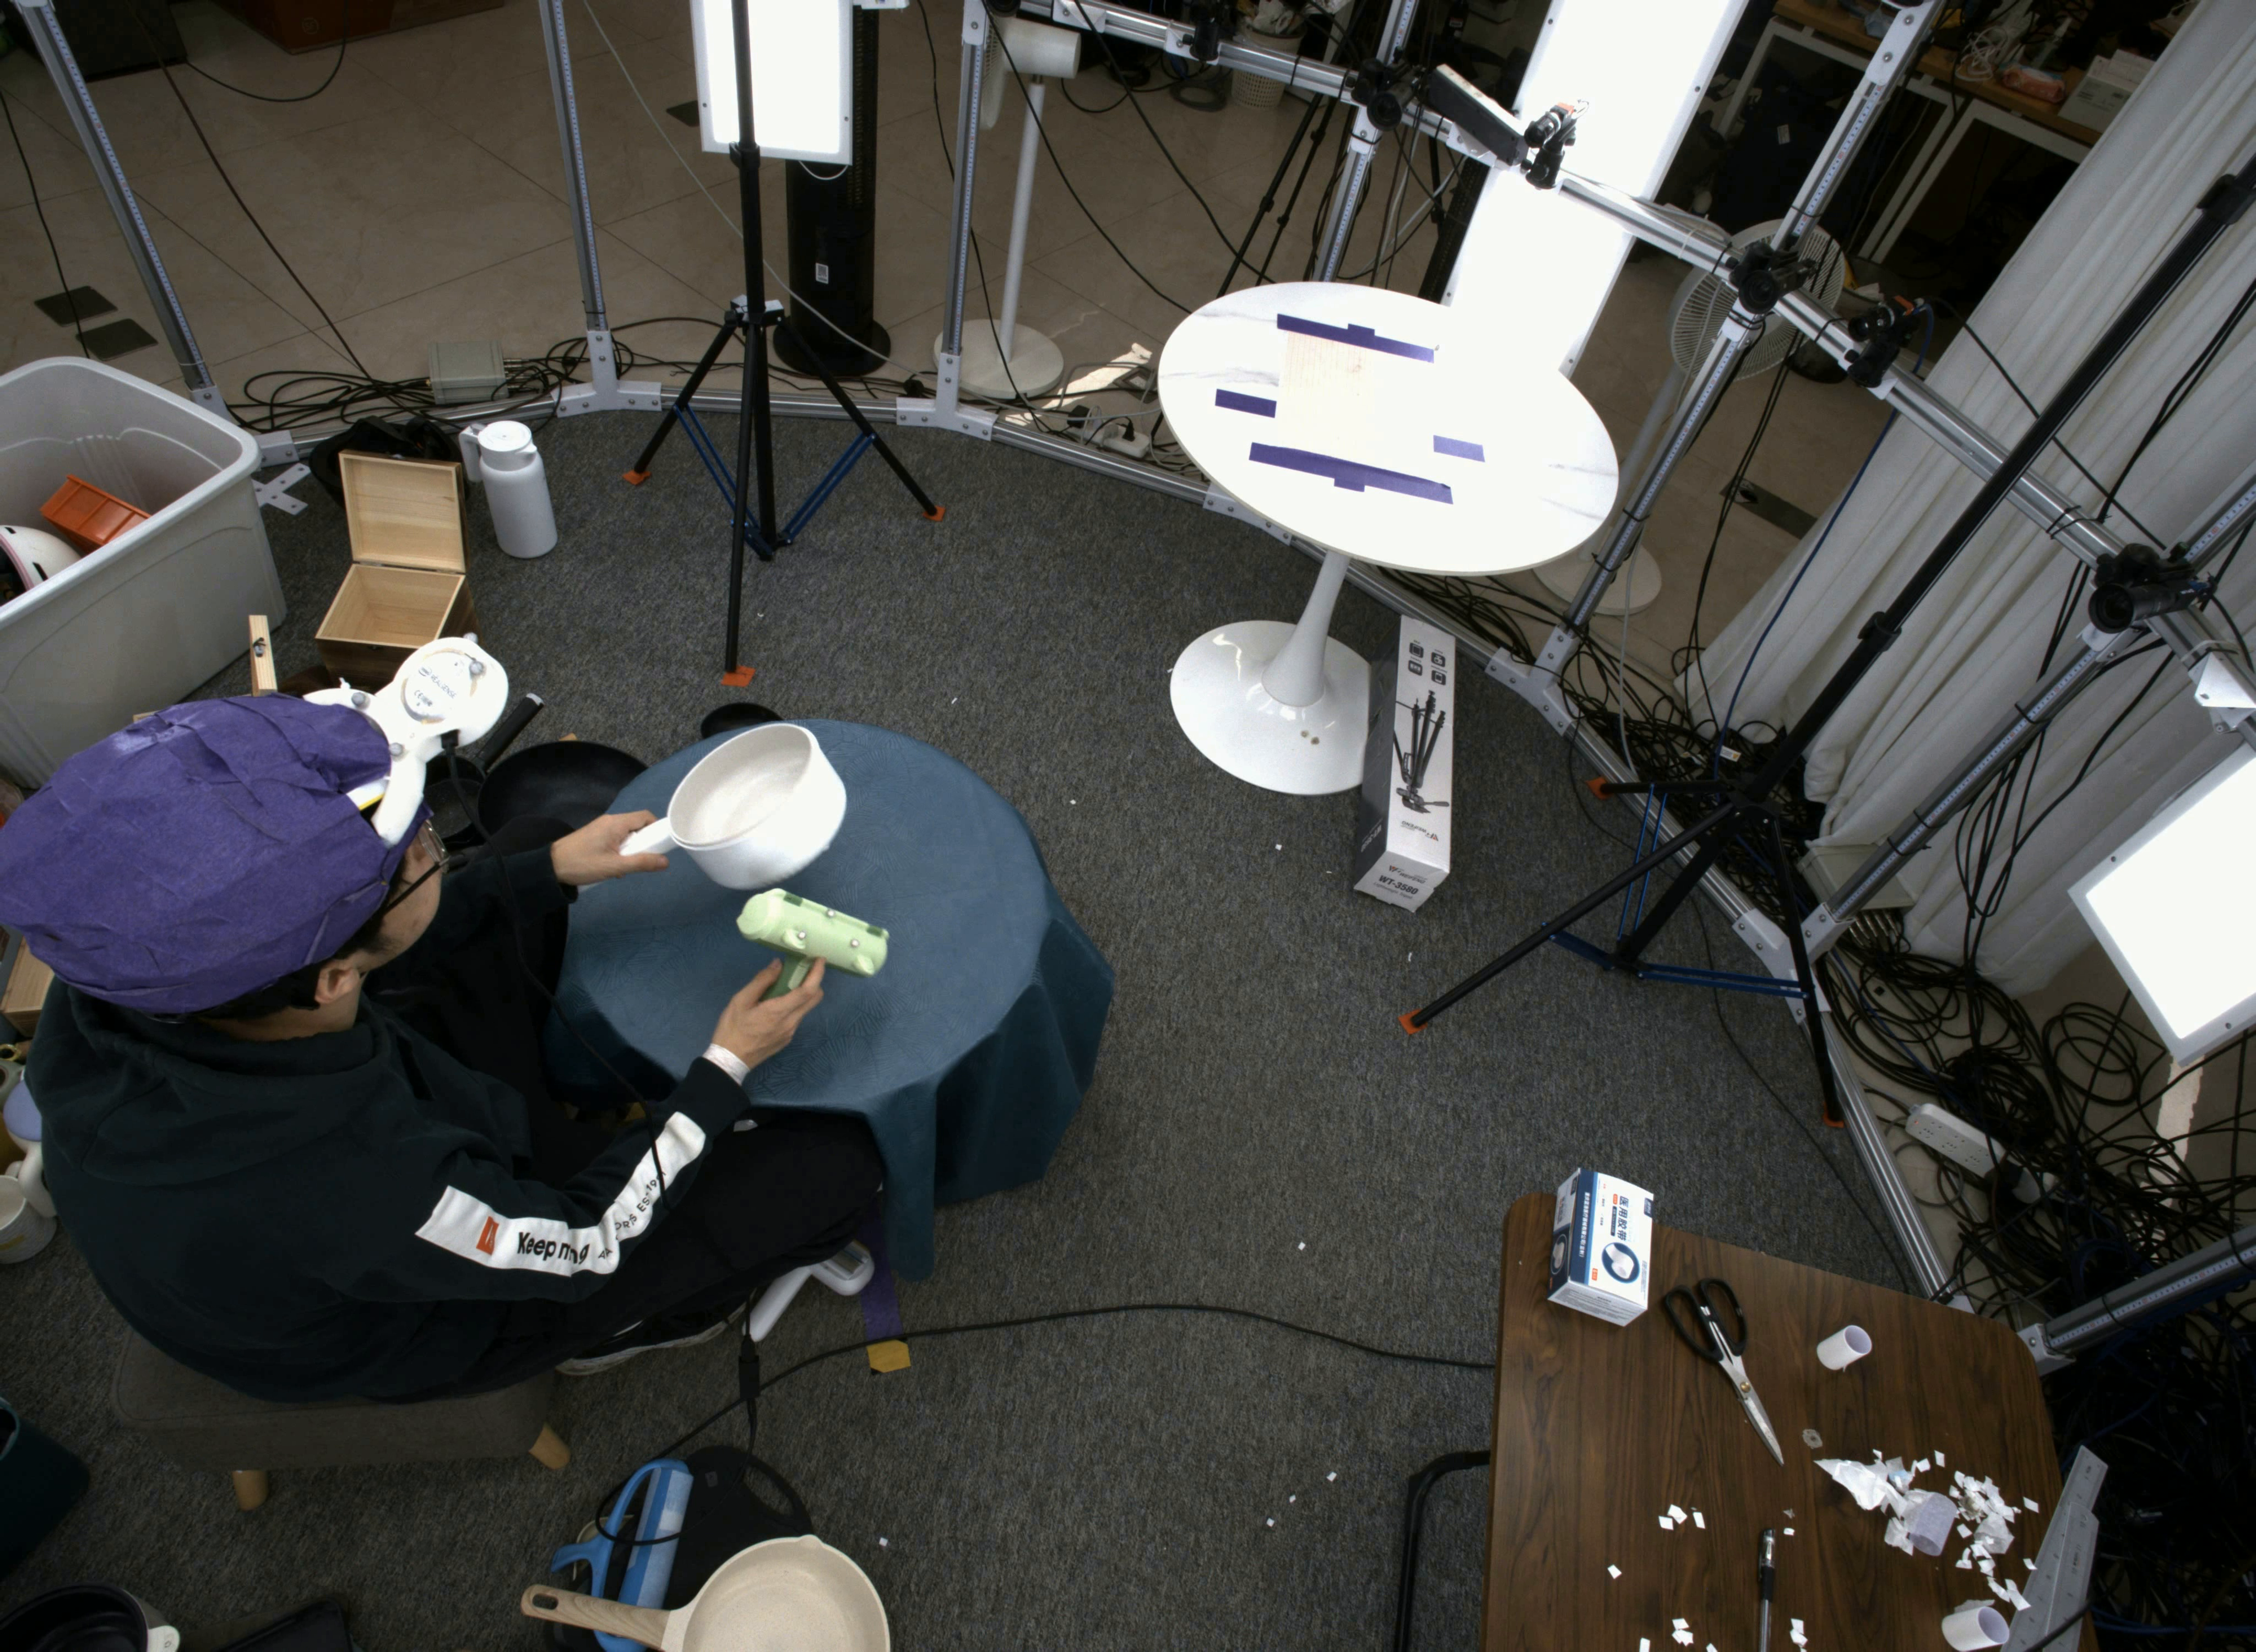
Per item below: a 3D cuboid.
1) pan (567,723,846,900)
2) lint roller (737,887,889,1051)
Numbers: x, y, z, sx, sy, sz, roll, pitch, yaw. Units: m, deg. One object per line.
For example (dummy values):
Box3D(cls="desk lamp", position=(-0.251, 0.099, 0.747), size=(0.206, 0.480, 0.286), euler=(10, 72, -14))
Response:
Box3D(cls="pan", position=(-0.506, 0.015, 1.549), size=(0.352, 0.106, 0.195), euler=(-25, 44, 2))
Box3D(cls="lint roller", position=(-0.375, 0.179, 1.481), size=(0.079, 0.205, 0.184), euler=(20, 82, 36))
